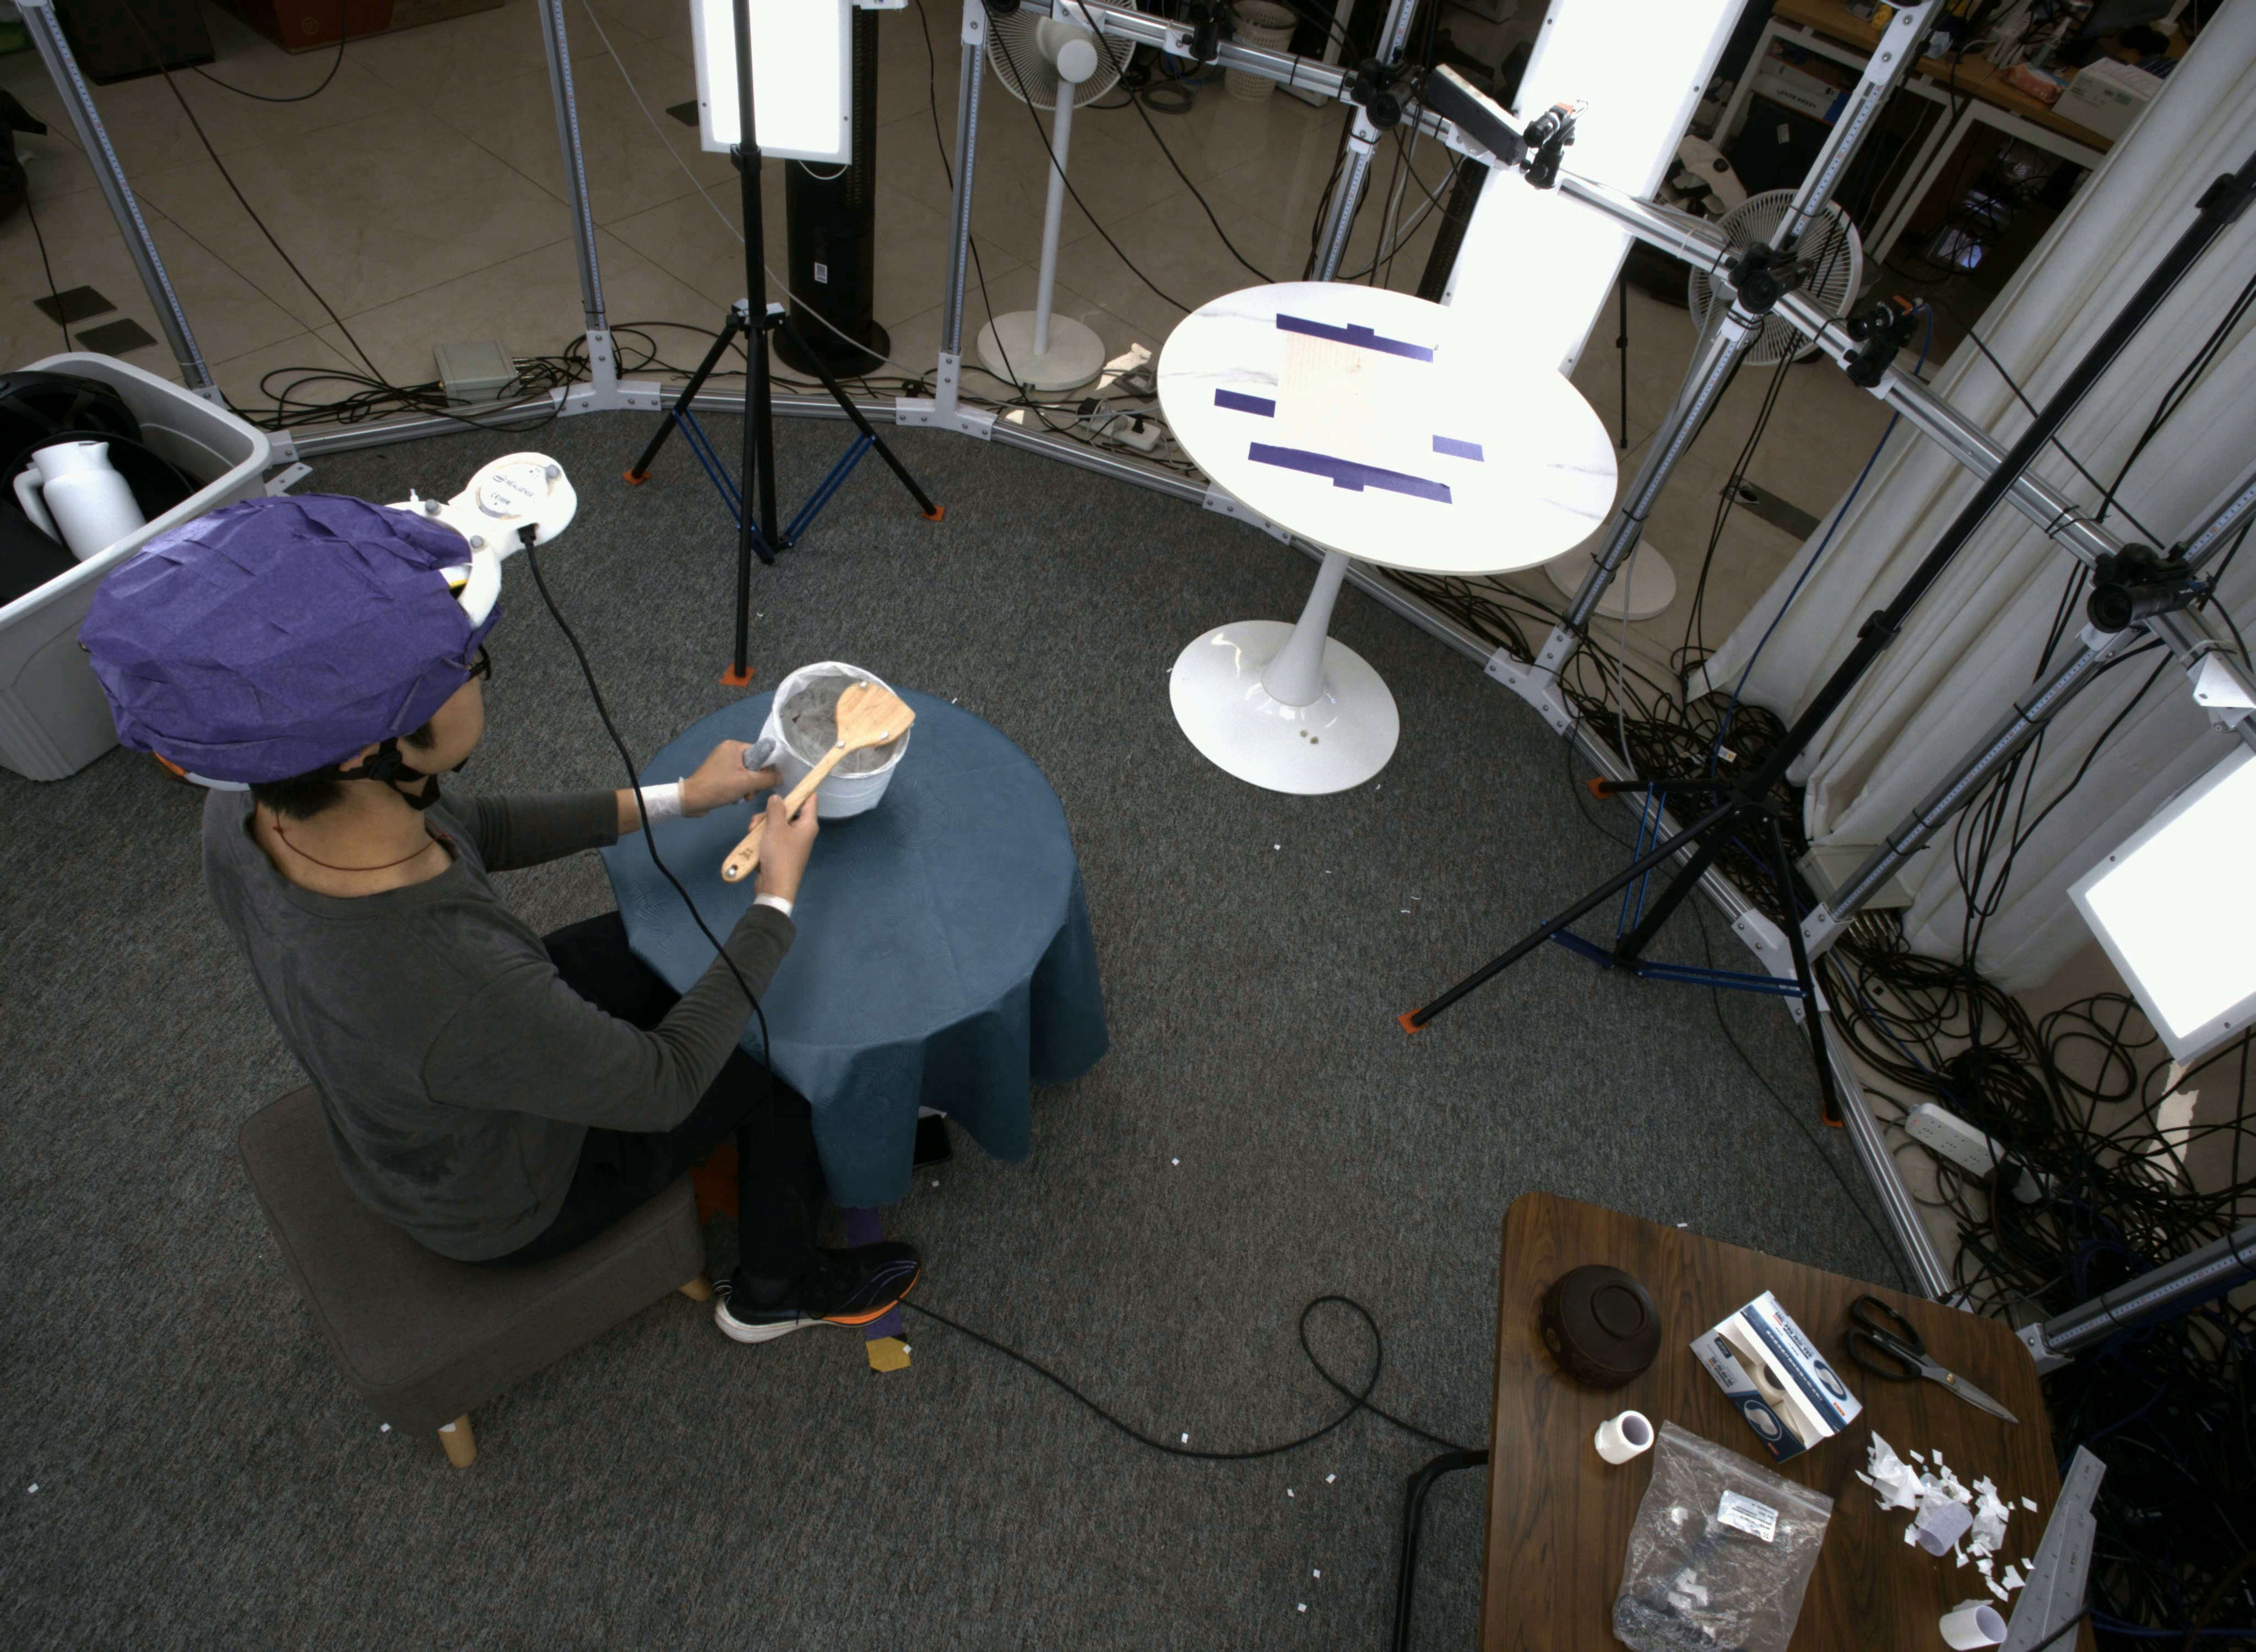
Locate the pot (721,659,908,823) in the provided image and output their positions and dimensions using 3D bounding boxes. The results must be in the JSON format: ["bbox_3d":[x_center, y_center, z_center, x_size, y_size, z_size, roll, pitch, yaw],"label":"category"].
[{"bbox_3d":[-0.411,-0.096,1.679,0.235,0.137,0.177,-26,75,-38],"label":"pot"}]

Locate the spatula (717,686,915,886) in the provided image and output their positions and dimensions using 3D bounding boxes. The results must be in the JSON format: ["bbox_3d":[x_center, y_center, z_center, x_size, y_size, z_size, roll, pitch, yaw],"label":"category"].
[{"bbox_3d":[-0.377,-0.052,1.557,0.095,0.019,0.387,28,41,0],"label":"spatula"}]
